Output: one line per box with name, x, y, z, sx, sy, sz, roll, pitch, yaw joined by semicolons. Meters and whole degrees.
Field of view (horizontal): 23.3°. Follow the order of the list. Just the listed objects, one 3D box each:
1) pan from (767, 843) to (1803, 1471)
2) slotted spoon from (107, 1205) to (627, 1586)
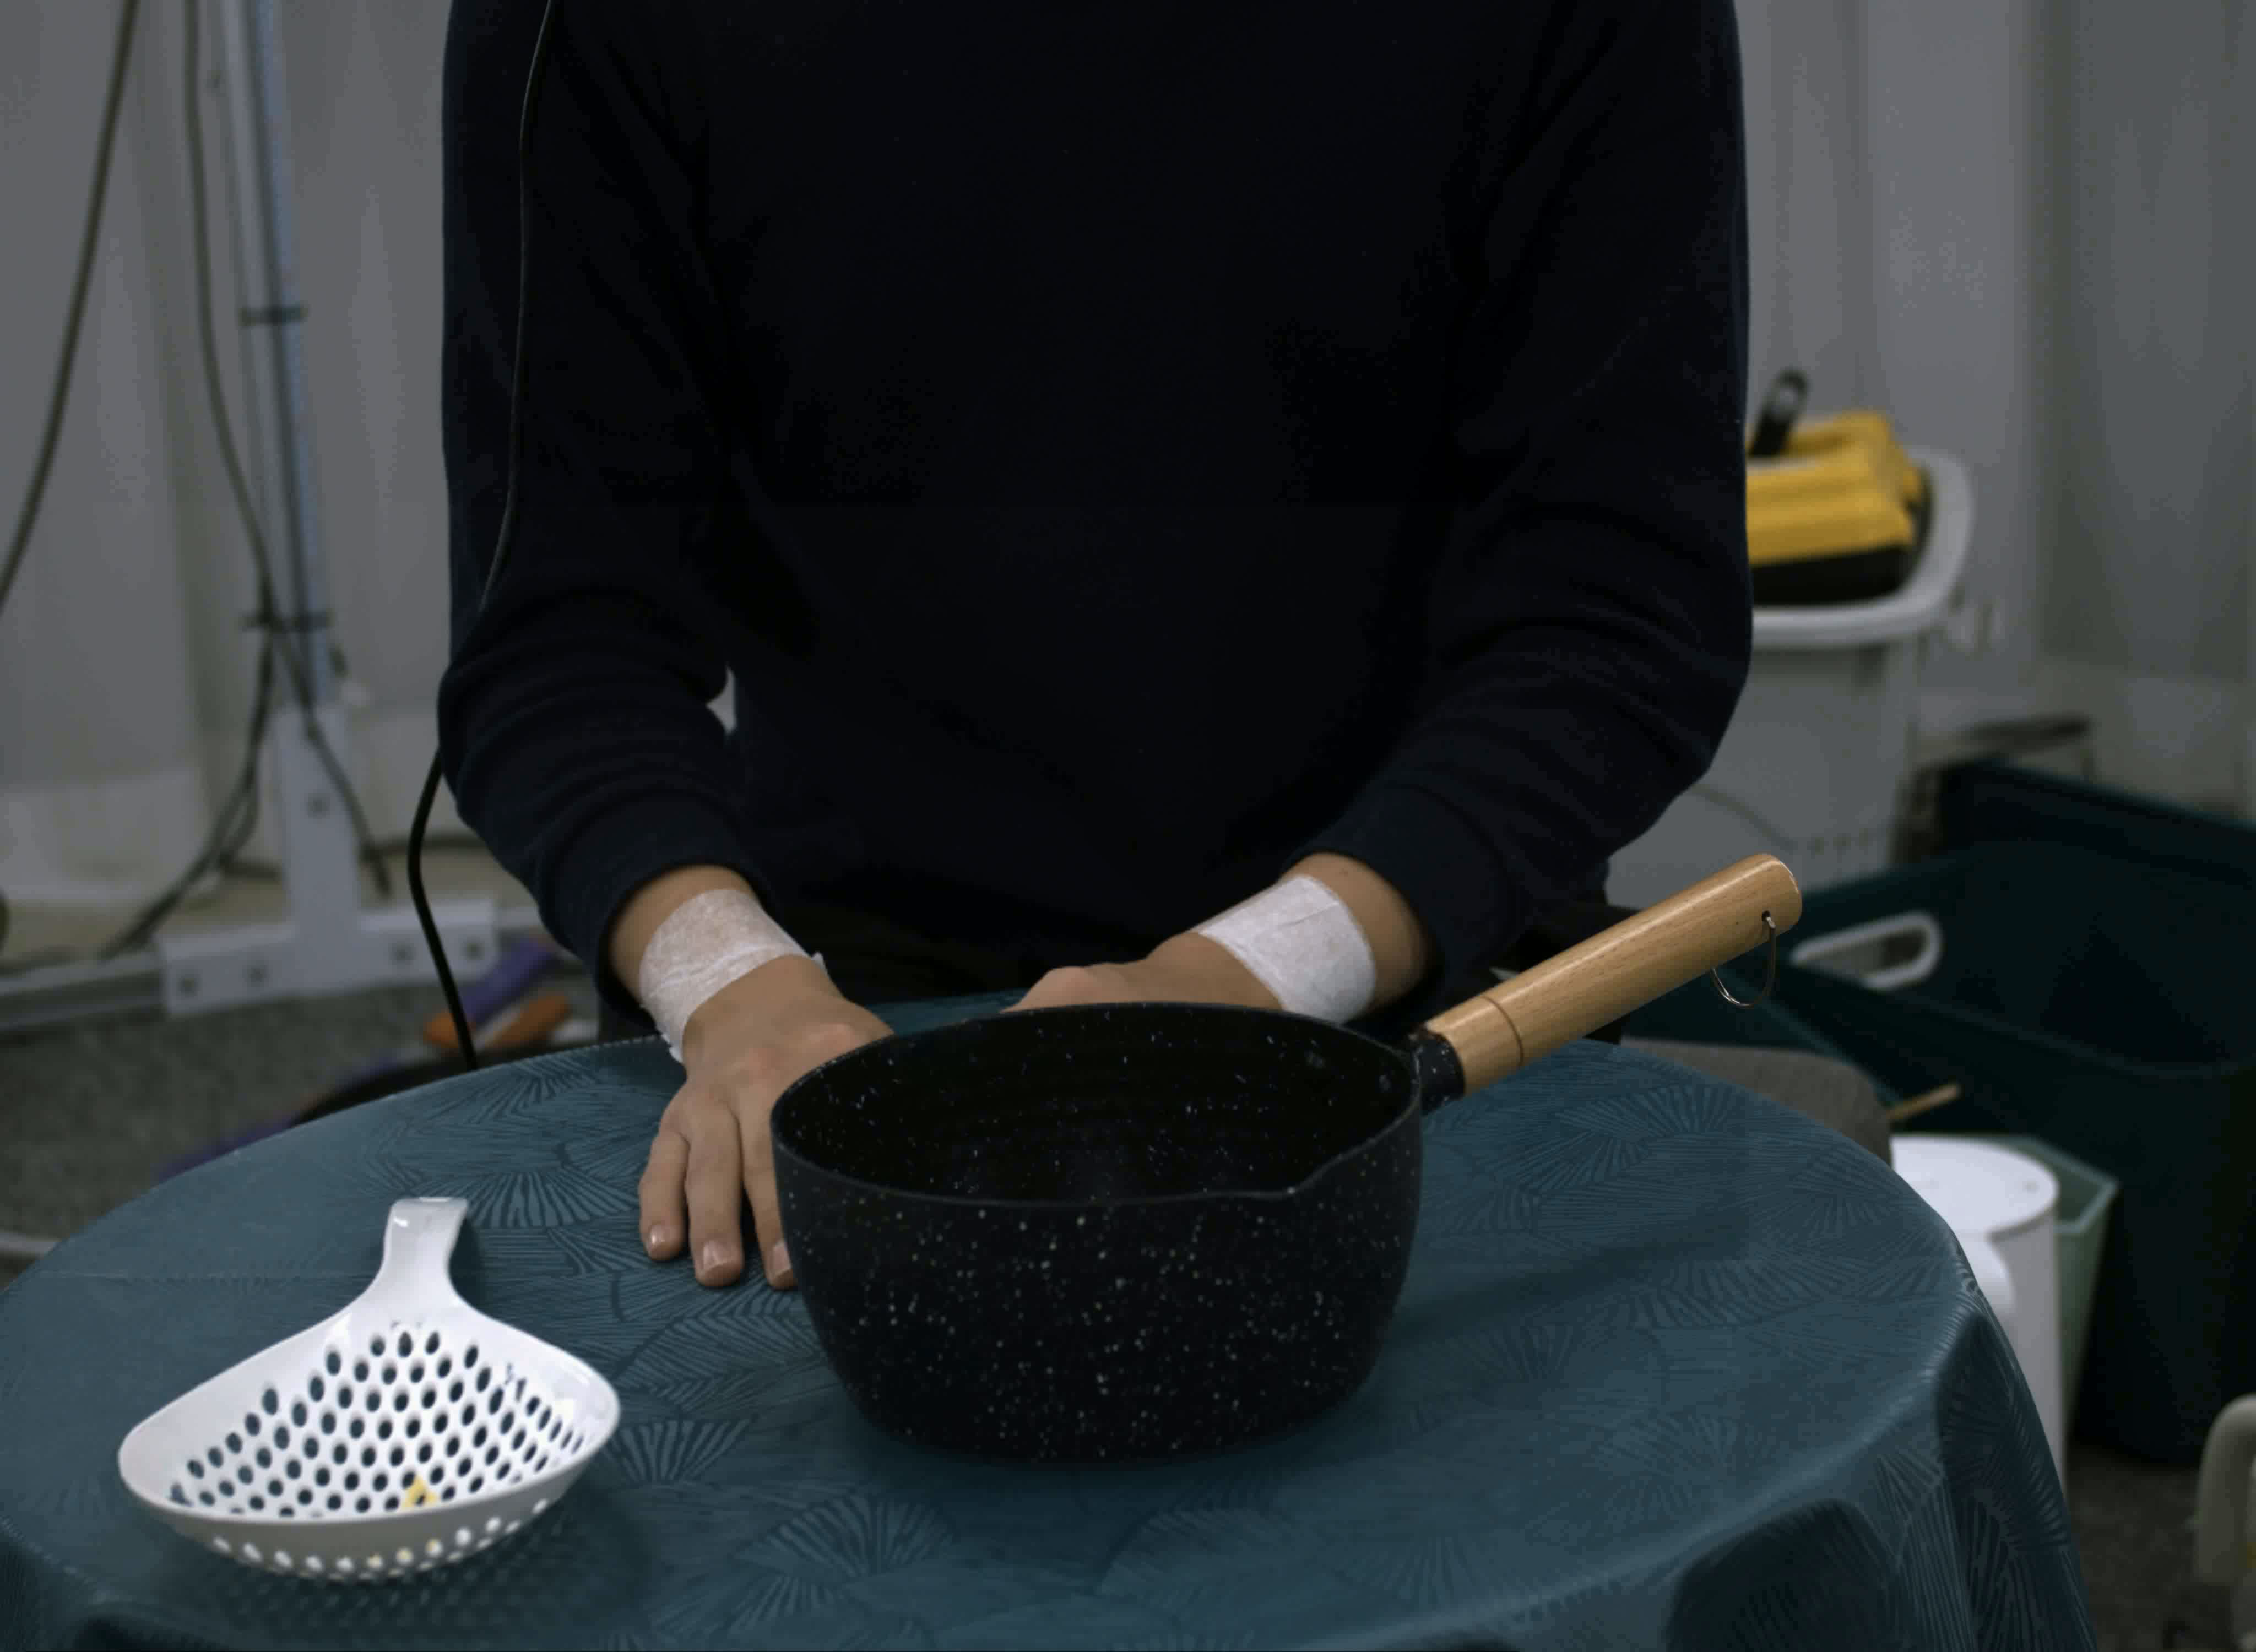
pan;0.058;0.091;1.587;0.342;0.108;0.209;-14;17;-31
slotted spoon;-0.207;0.147;1.555;0.136;0.050;0.350;-6;16;-3
